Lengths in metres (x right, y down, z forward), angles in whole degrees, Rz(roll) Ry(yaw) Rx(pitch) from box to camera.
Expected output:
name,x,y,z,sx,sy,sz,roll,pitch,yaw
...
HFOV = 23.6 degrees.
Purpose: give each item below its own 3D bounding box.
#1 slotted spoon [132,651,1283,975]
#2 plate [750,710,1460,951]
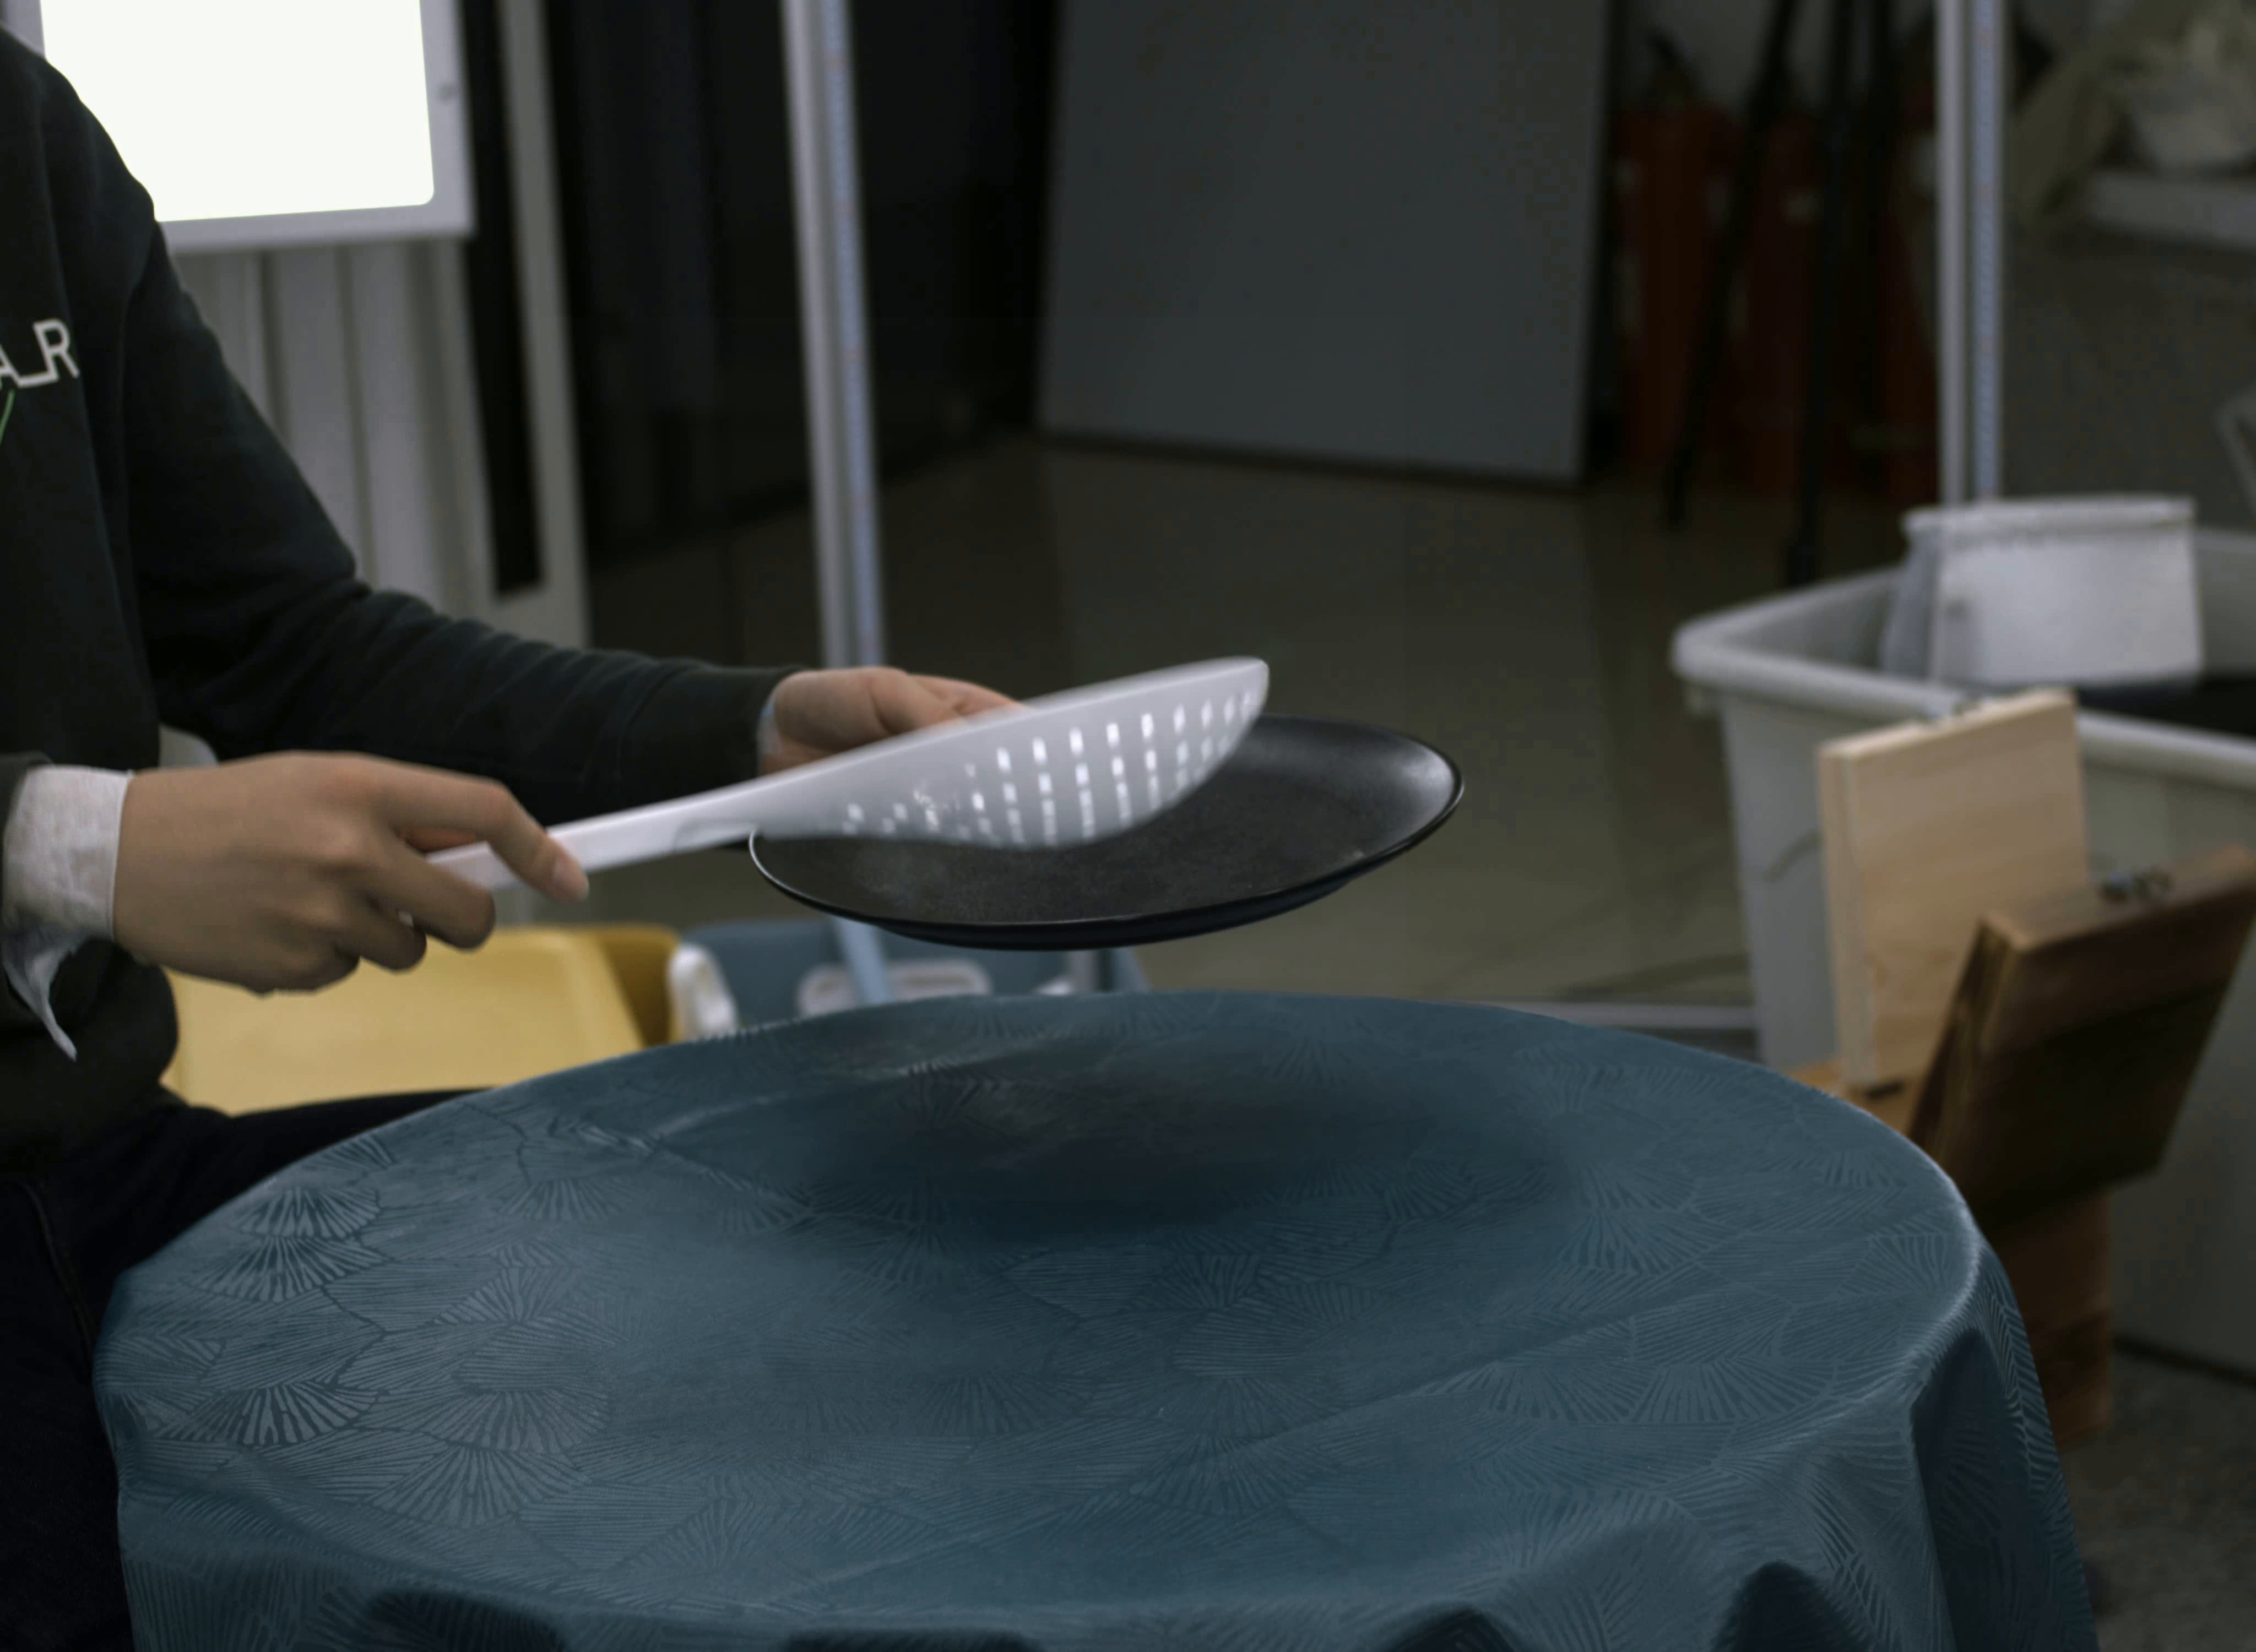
name,x,y,z,sx,sy,sz,roll,pitch,yaw
slotted spoon,-0.122,-0.003,1.594,0.345,0.046,0.136,-9,-2,-1
plate,-0.007,0.004,1.818,0.241,0.023,0.245,-6,16,1
